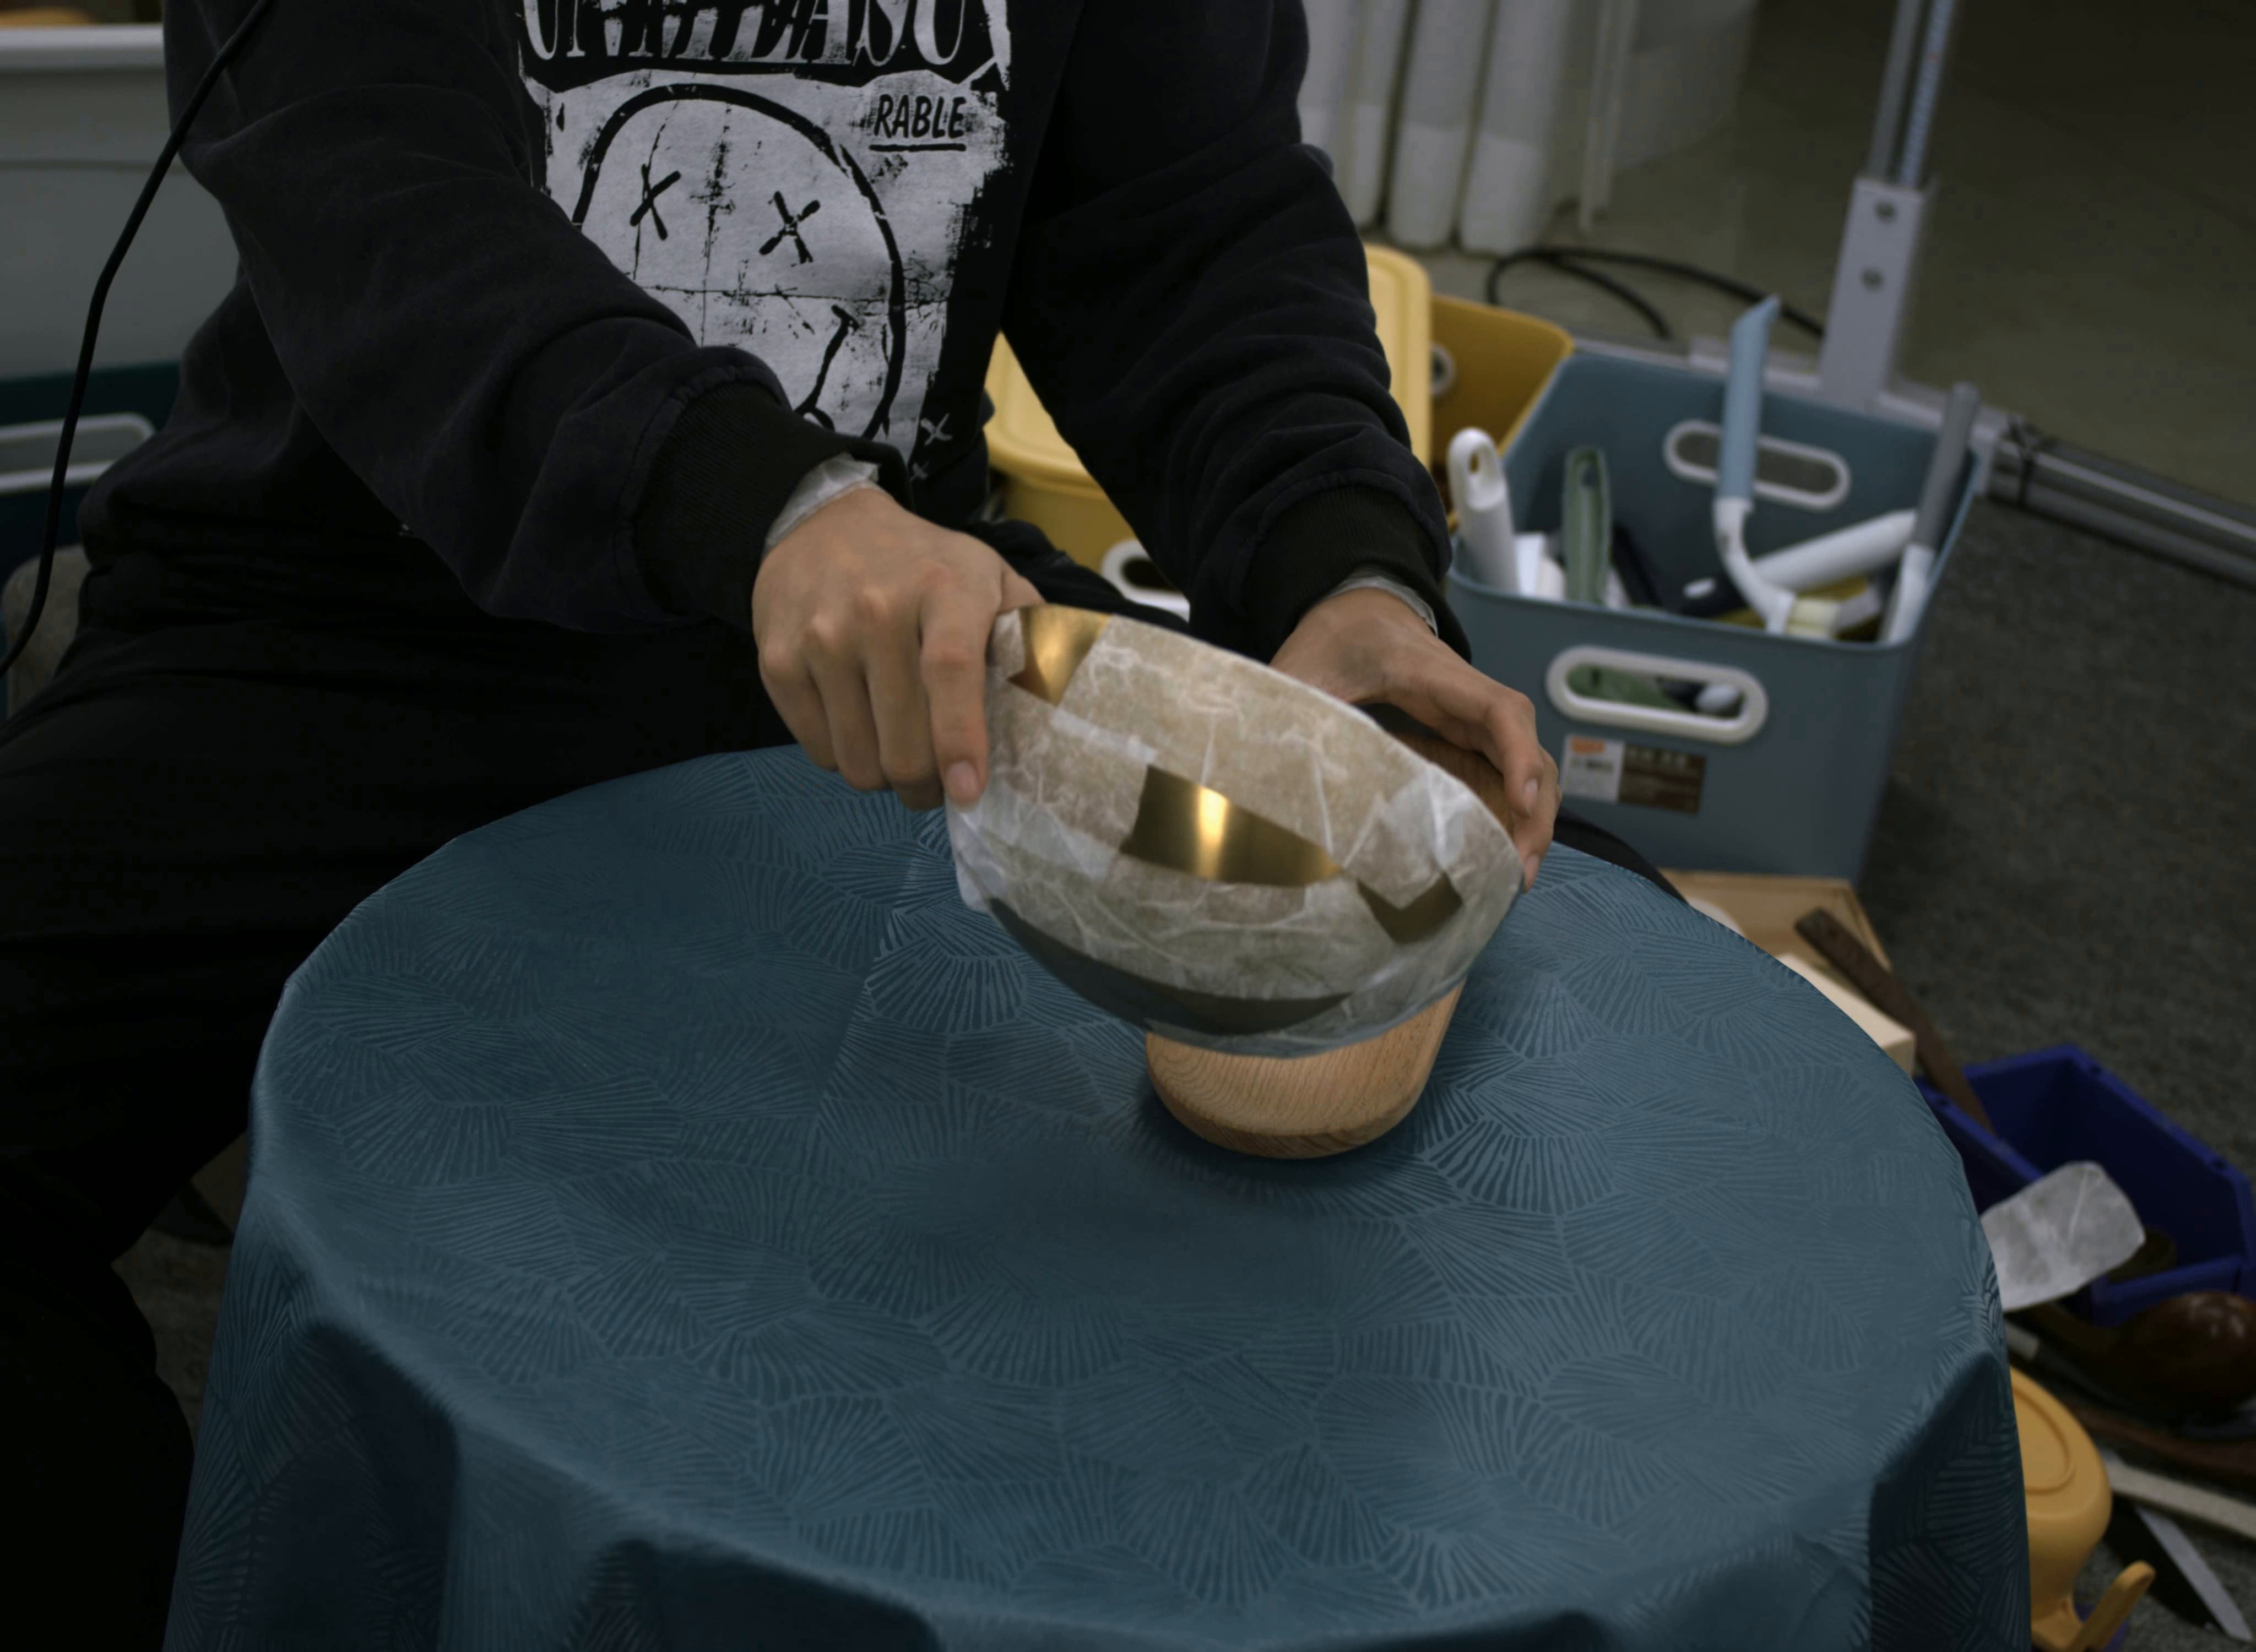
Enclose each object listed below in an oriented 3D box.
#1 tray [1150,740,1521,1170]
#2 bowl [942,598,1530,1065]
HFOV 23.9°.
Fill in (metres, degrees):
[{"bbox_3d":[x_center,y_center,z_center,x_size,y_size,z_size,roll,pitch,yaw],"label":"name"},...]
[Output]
[{"bbox_3d":[0.076,0.044,1.906,0.102,0.020,0.232,7,41,15],"label":"tray"},{"bbox_3d":[0.021,0.020,1.733,0.215,0.213,0.095,19,73,22],"label":"bowl"}]
